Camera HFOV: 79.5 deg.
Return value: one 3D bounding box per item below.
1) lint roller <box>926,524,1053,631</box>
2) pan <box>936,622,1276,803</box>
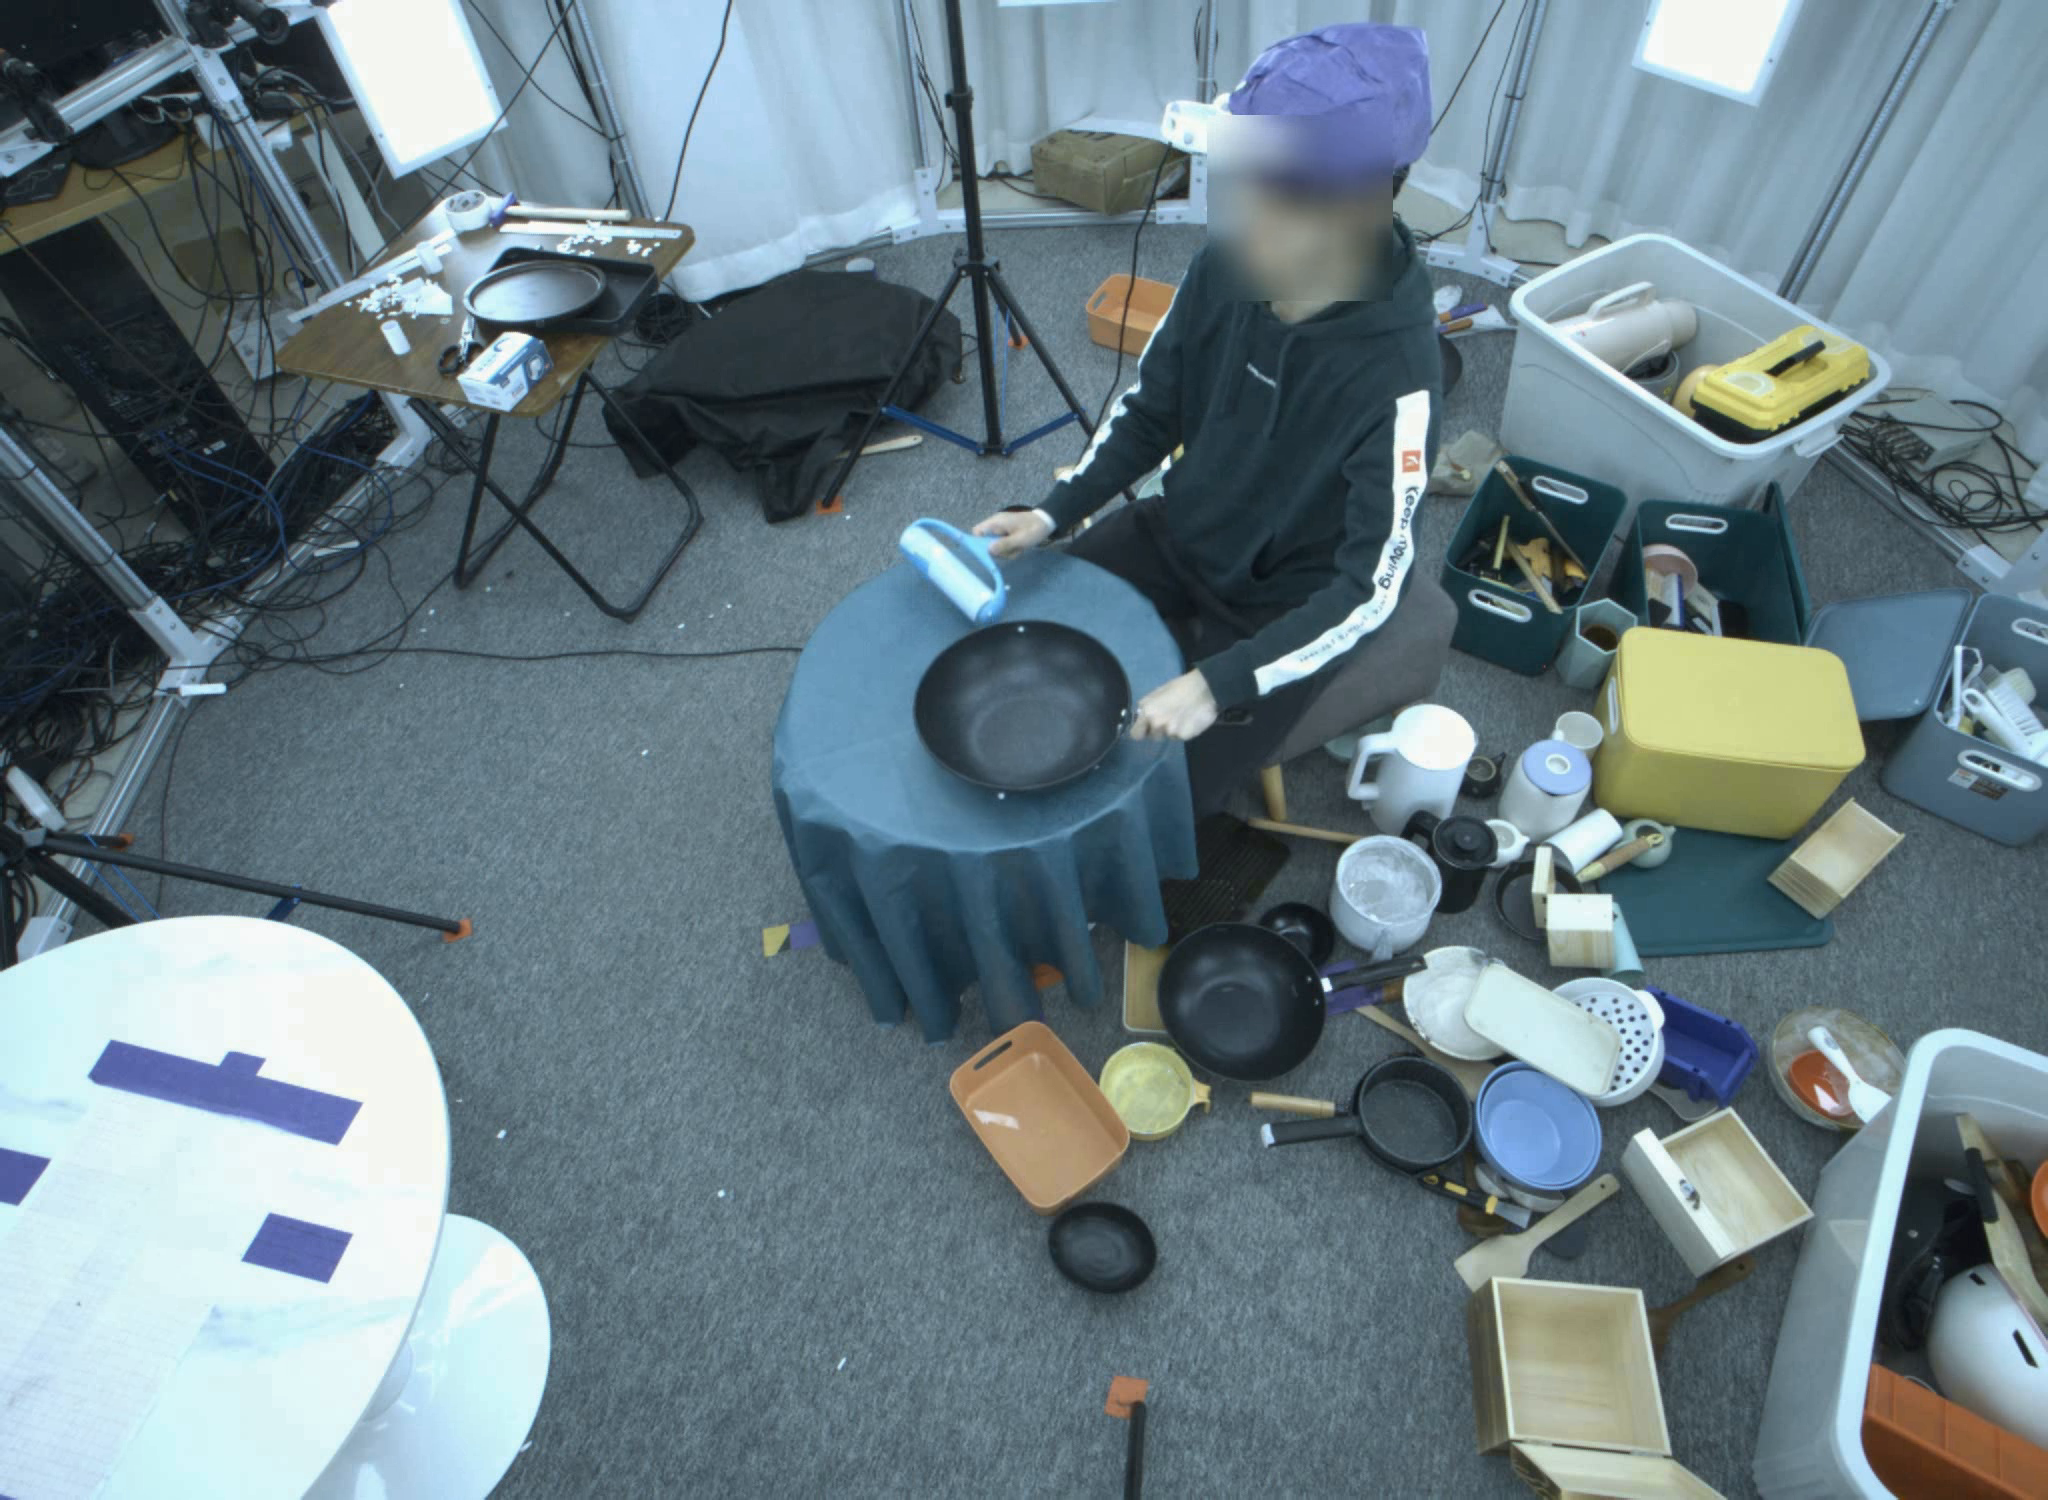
[{"bbox_3d":[-0.029,-0.295,1.915,0.182,0.068,0.225,-37,63,-24],"label":"lint roller"},{"bbox_3d":[0.113,-0.033,1.735,0.473,0.113,0.309,9,57,10],"label":"pan"}]
